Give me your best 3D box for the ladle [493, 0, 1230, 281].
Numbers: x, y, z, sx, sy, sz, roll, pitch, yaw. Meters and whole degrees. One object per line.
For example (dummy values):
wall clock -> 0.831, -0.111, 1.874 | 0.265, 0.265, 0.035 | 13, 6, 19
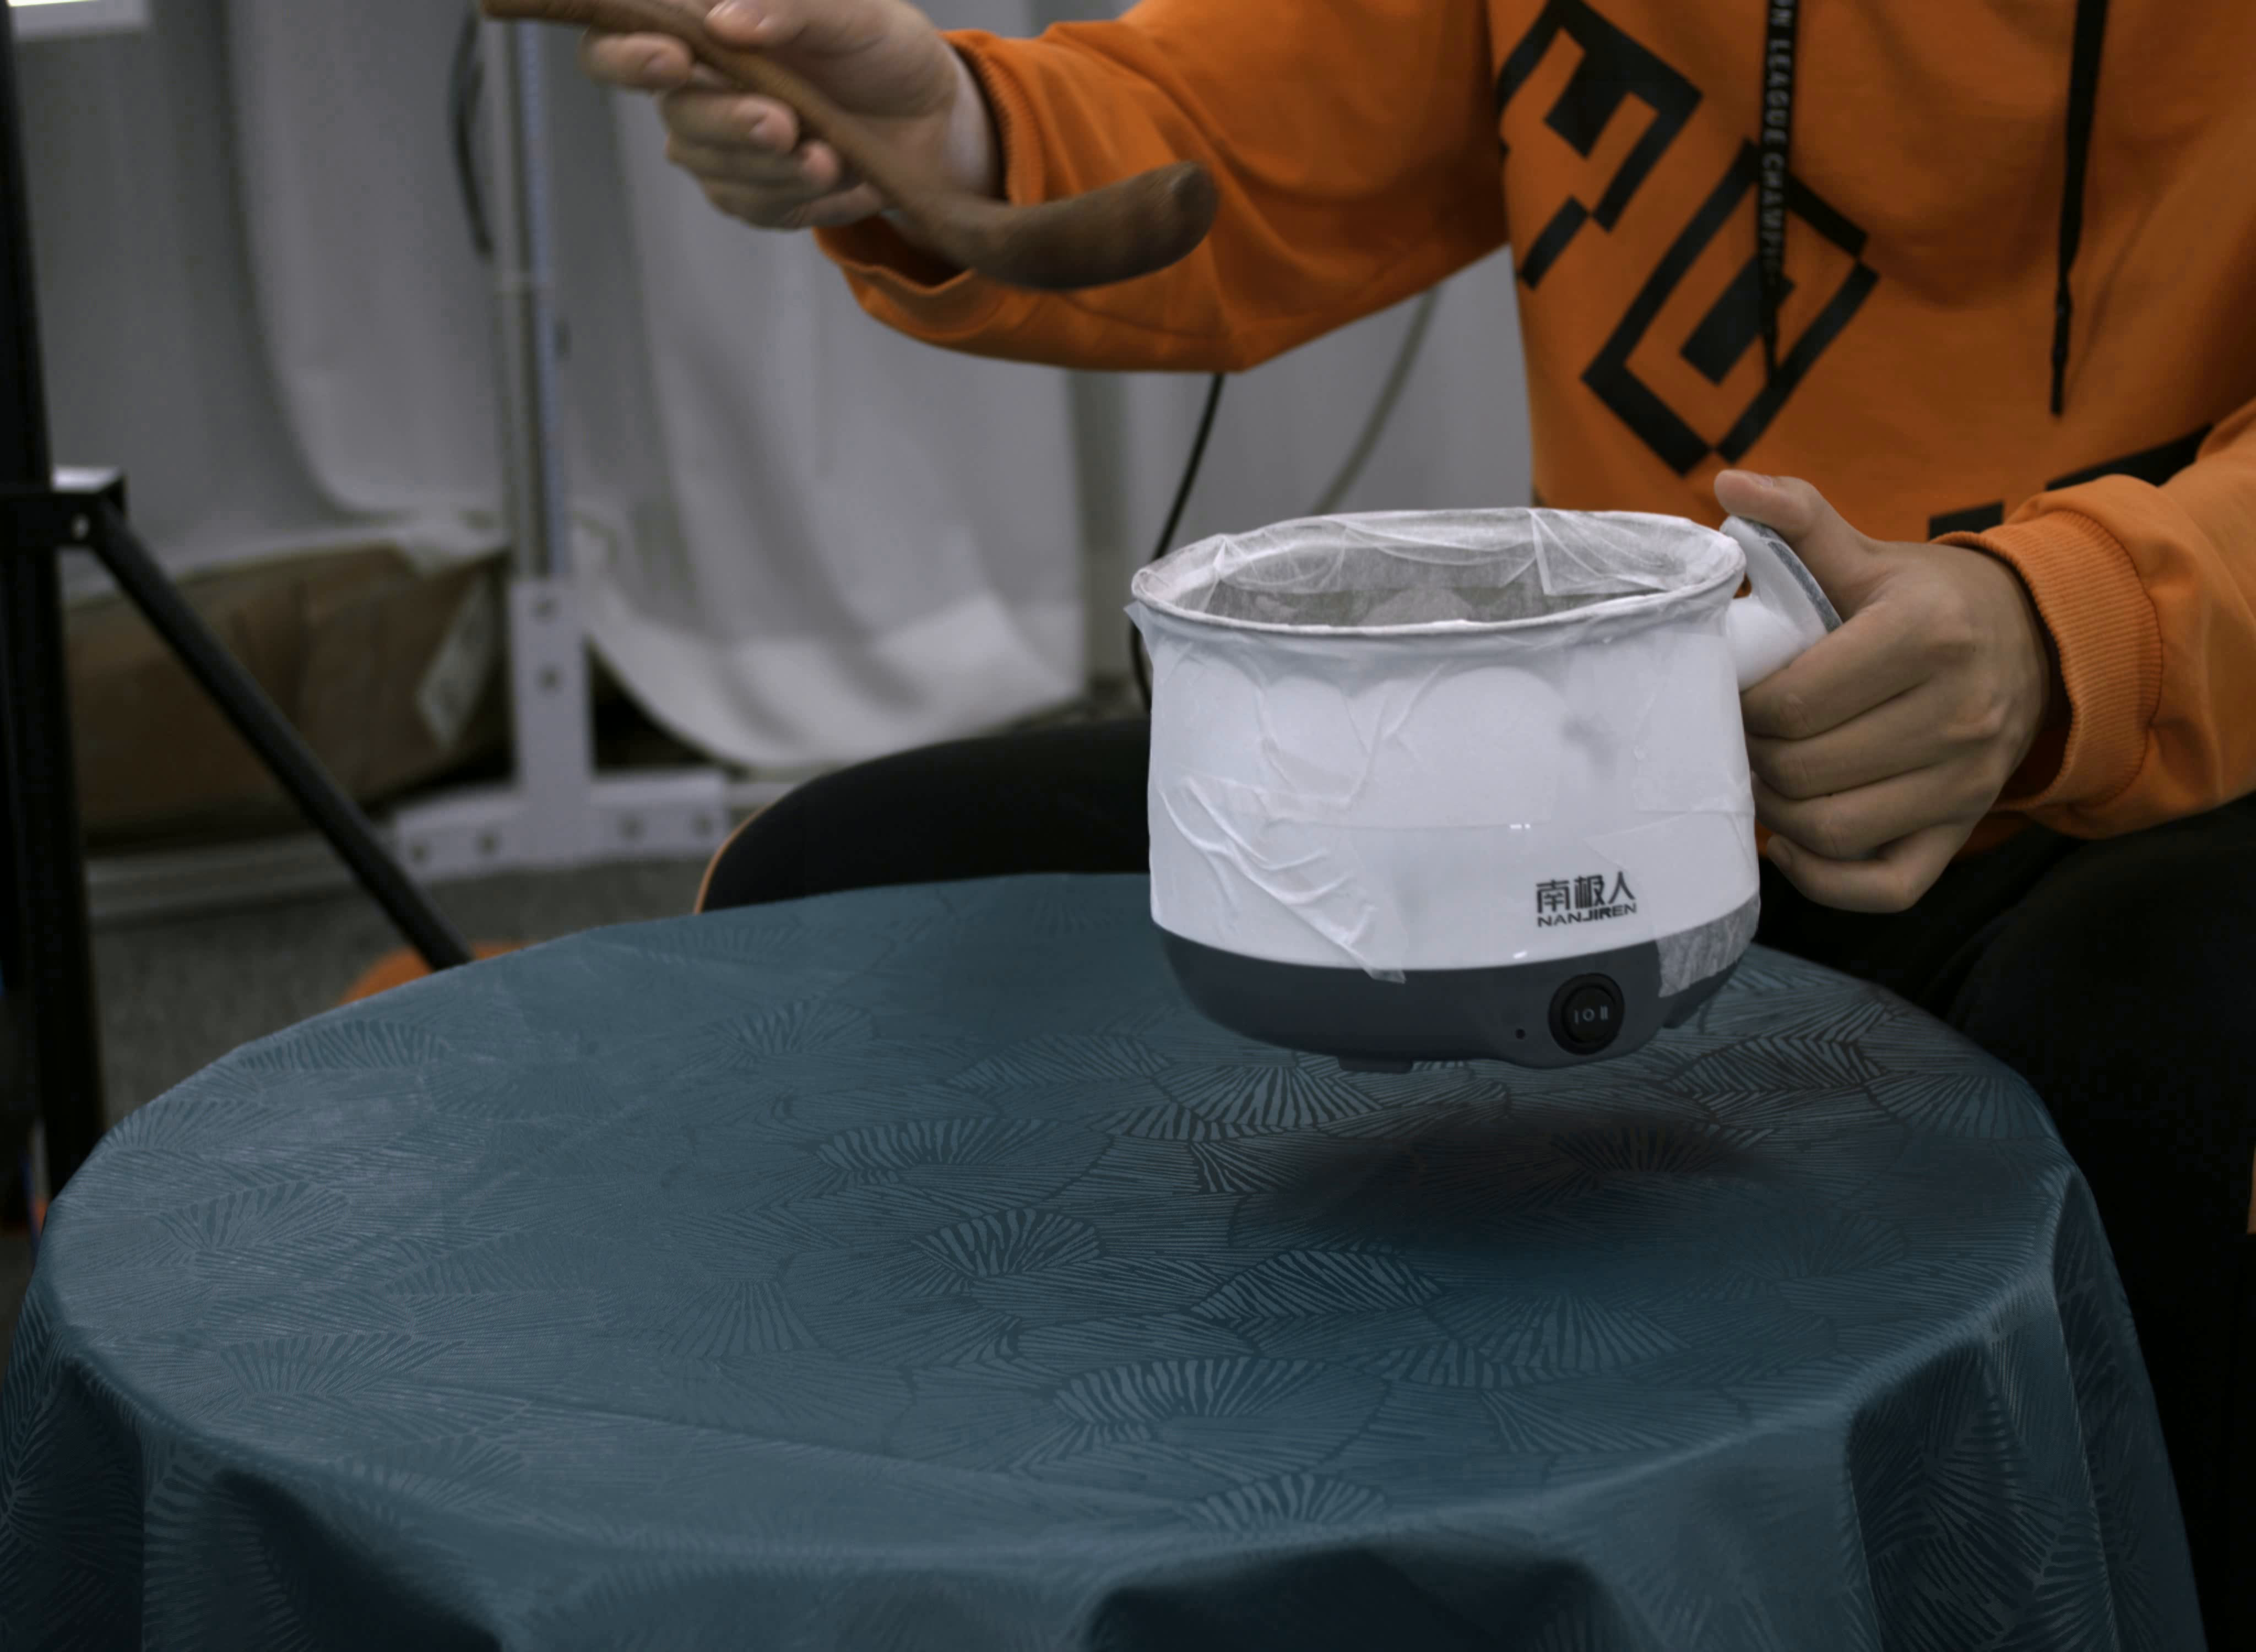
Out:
ladle -> -0.085, -0.229, 1.628 | 0.264, 0.065, 0.075 | 30, 19, 23

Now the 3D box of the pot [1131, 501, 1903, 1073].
pot -> 0.118, -0.017, 1.545 | 0.229, 0.136, 0.182 | -9, 15, -21
